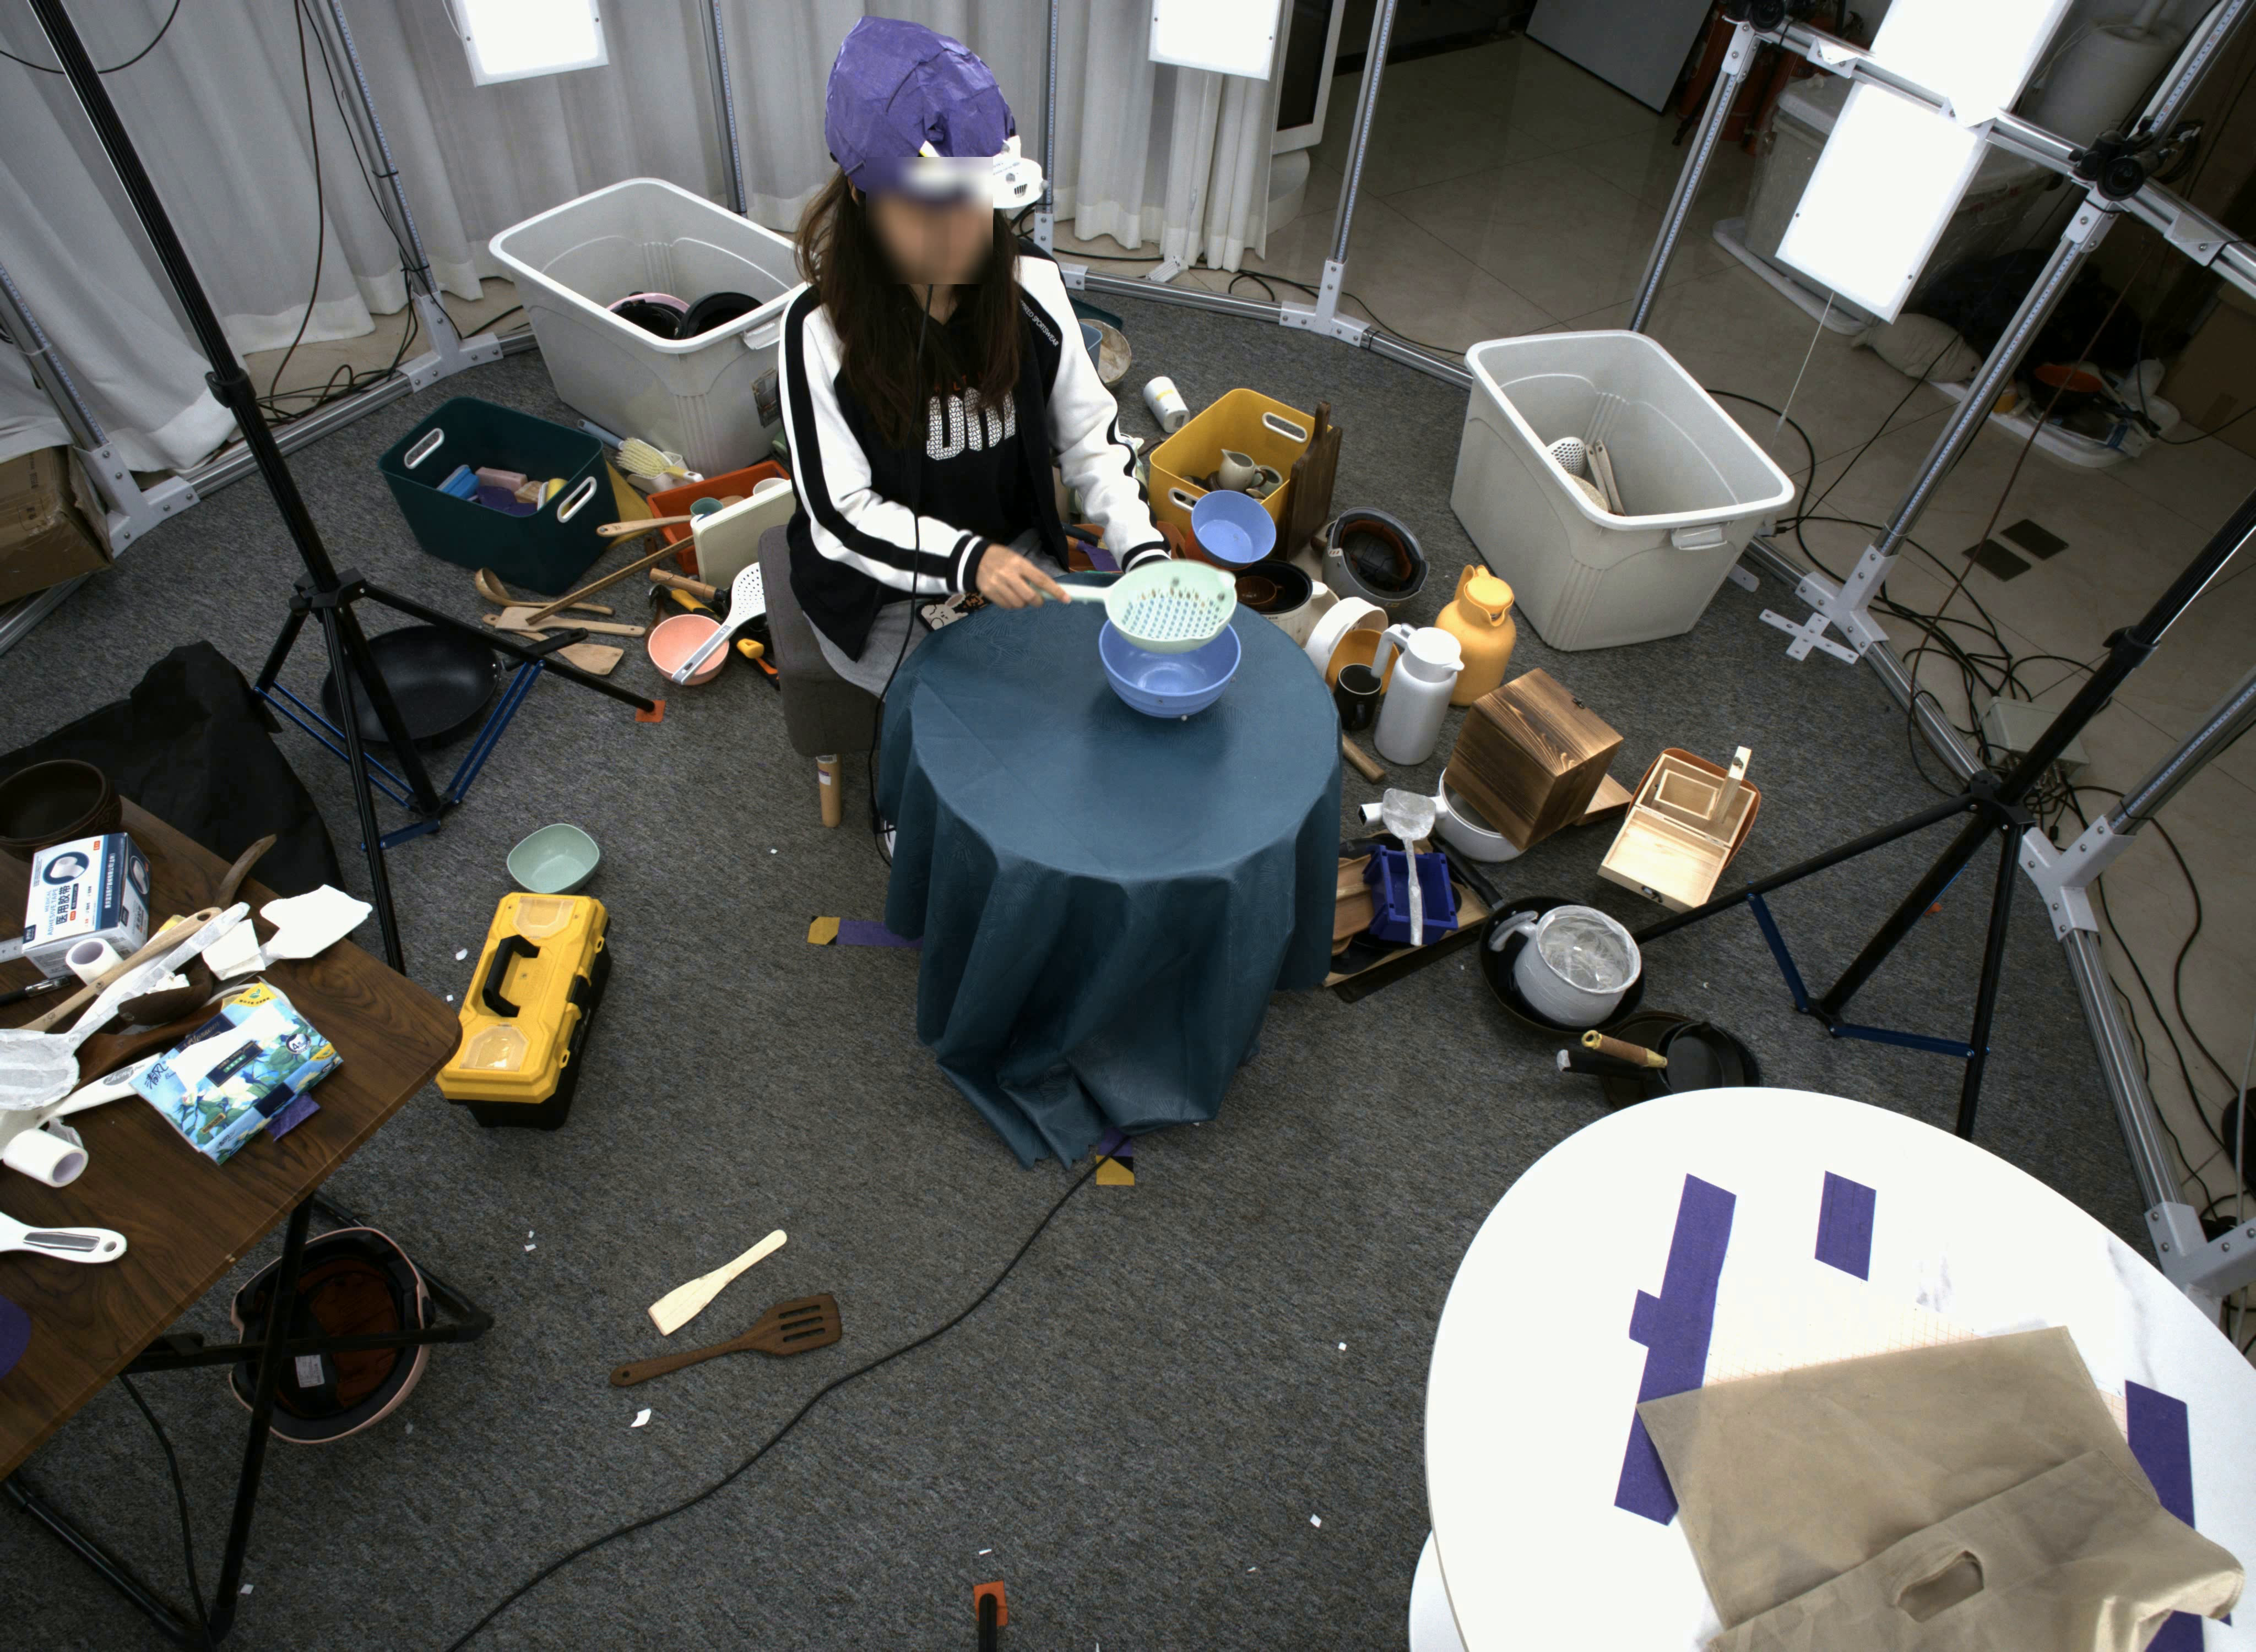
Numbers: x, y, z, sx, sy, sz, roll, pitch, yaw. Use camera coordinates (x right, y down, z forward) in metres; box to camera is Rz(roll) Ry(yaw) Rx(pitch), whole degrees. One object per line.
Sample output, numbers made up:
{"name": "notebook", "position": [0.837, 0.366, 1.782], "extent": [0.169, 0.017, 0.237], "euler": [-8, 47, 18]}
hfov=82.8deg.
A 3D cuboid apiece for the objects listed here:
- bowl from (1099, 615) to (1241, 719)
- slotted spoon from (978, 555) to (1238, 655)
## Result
{"name": "bowl", "position": [0.055, -0.220, 1.803], "extent": [0.196, 0.093, 0.201], "euler": [2, 49, -2]}
{"name": "slotted spoon", "position": [-0.034, -0.305, 1.711], "extent": [0.360, 0.073, 0.173], "euler": [14, 52, 10]}
